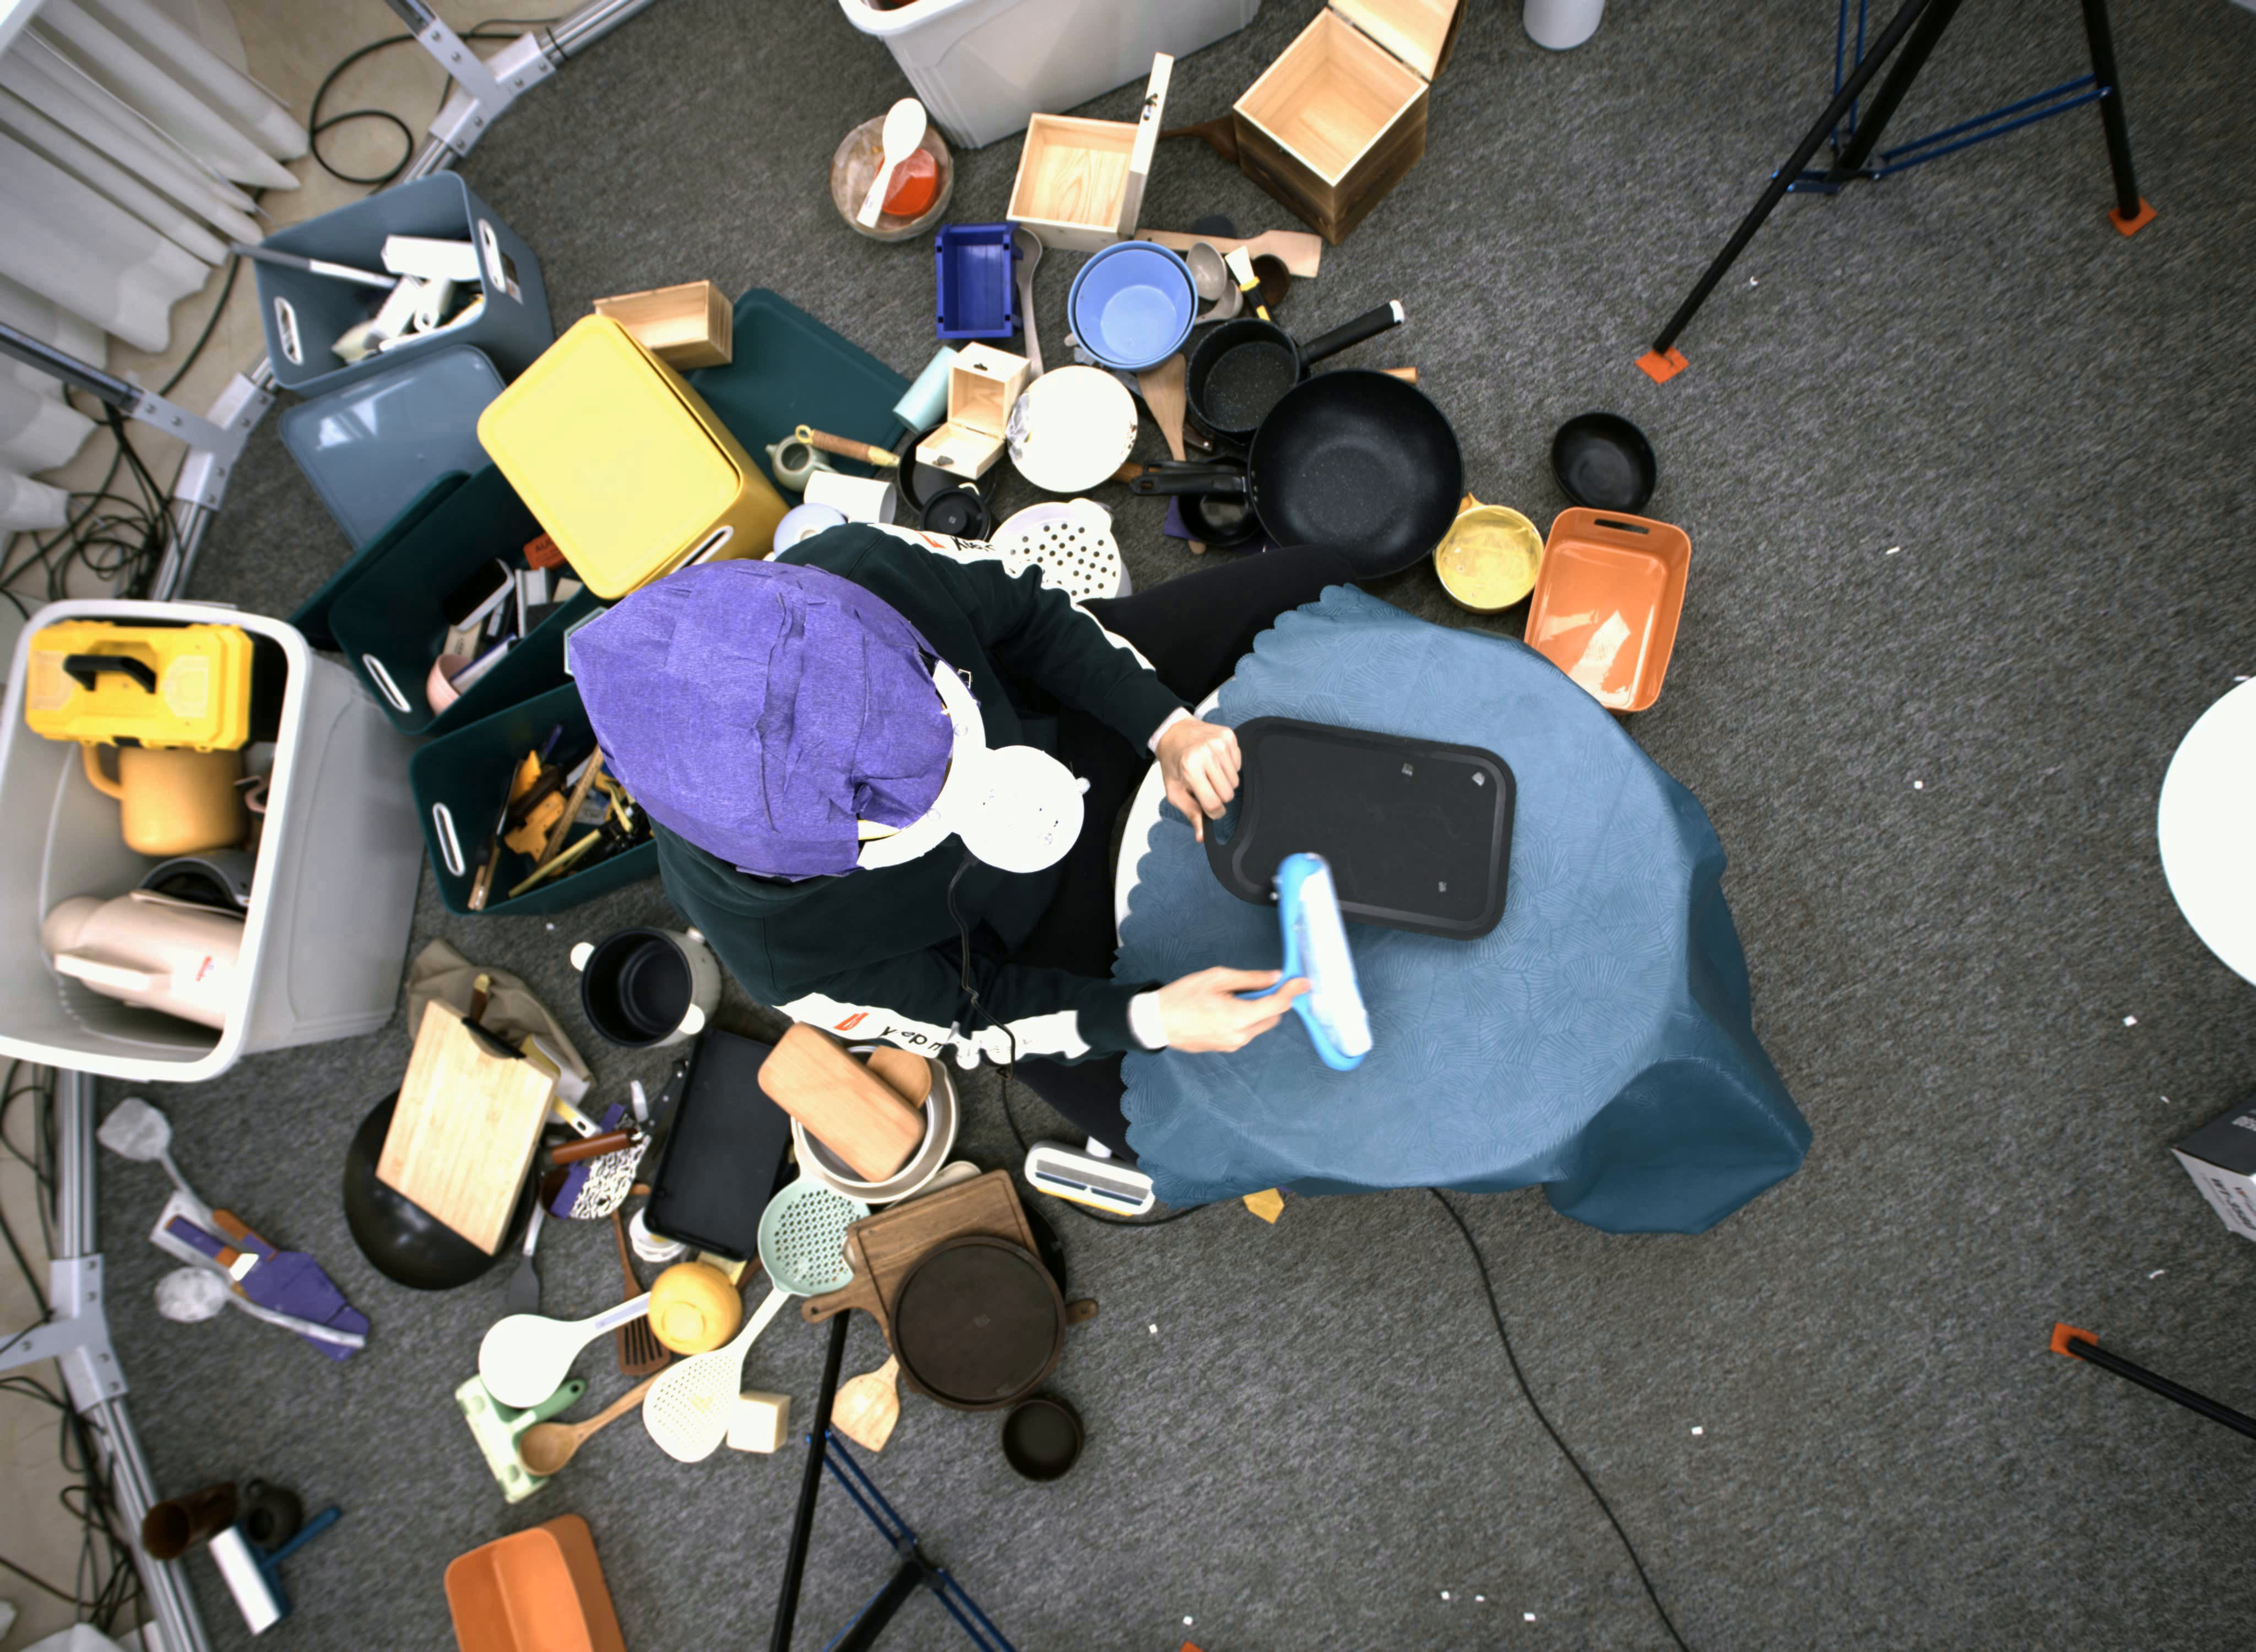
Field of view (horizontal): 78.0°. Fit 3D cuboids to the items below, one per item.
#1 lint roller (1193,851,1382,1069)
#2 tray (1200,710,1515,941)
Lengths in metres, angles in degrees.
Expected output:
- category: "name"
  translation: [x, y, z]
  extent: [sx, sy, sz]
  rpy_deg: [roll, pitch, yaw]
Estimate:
- category: "lint roller"
  translation: [0.155, 0.155, 1.364]
  extent: [0.178, 0.068, 0.231]
  rpy_deg: [-23, 107, -19]
- category: "tray"
  translation: [0.236, -0.005, 1.421]
  extent: [0.326, 0.010, 0.208]
  rpy_deg: [10, 78, -1]
